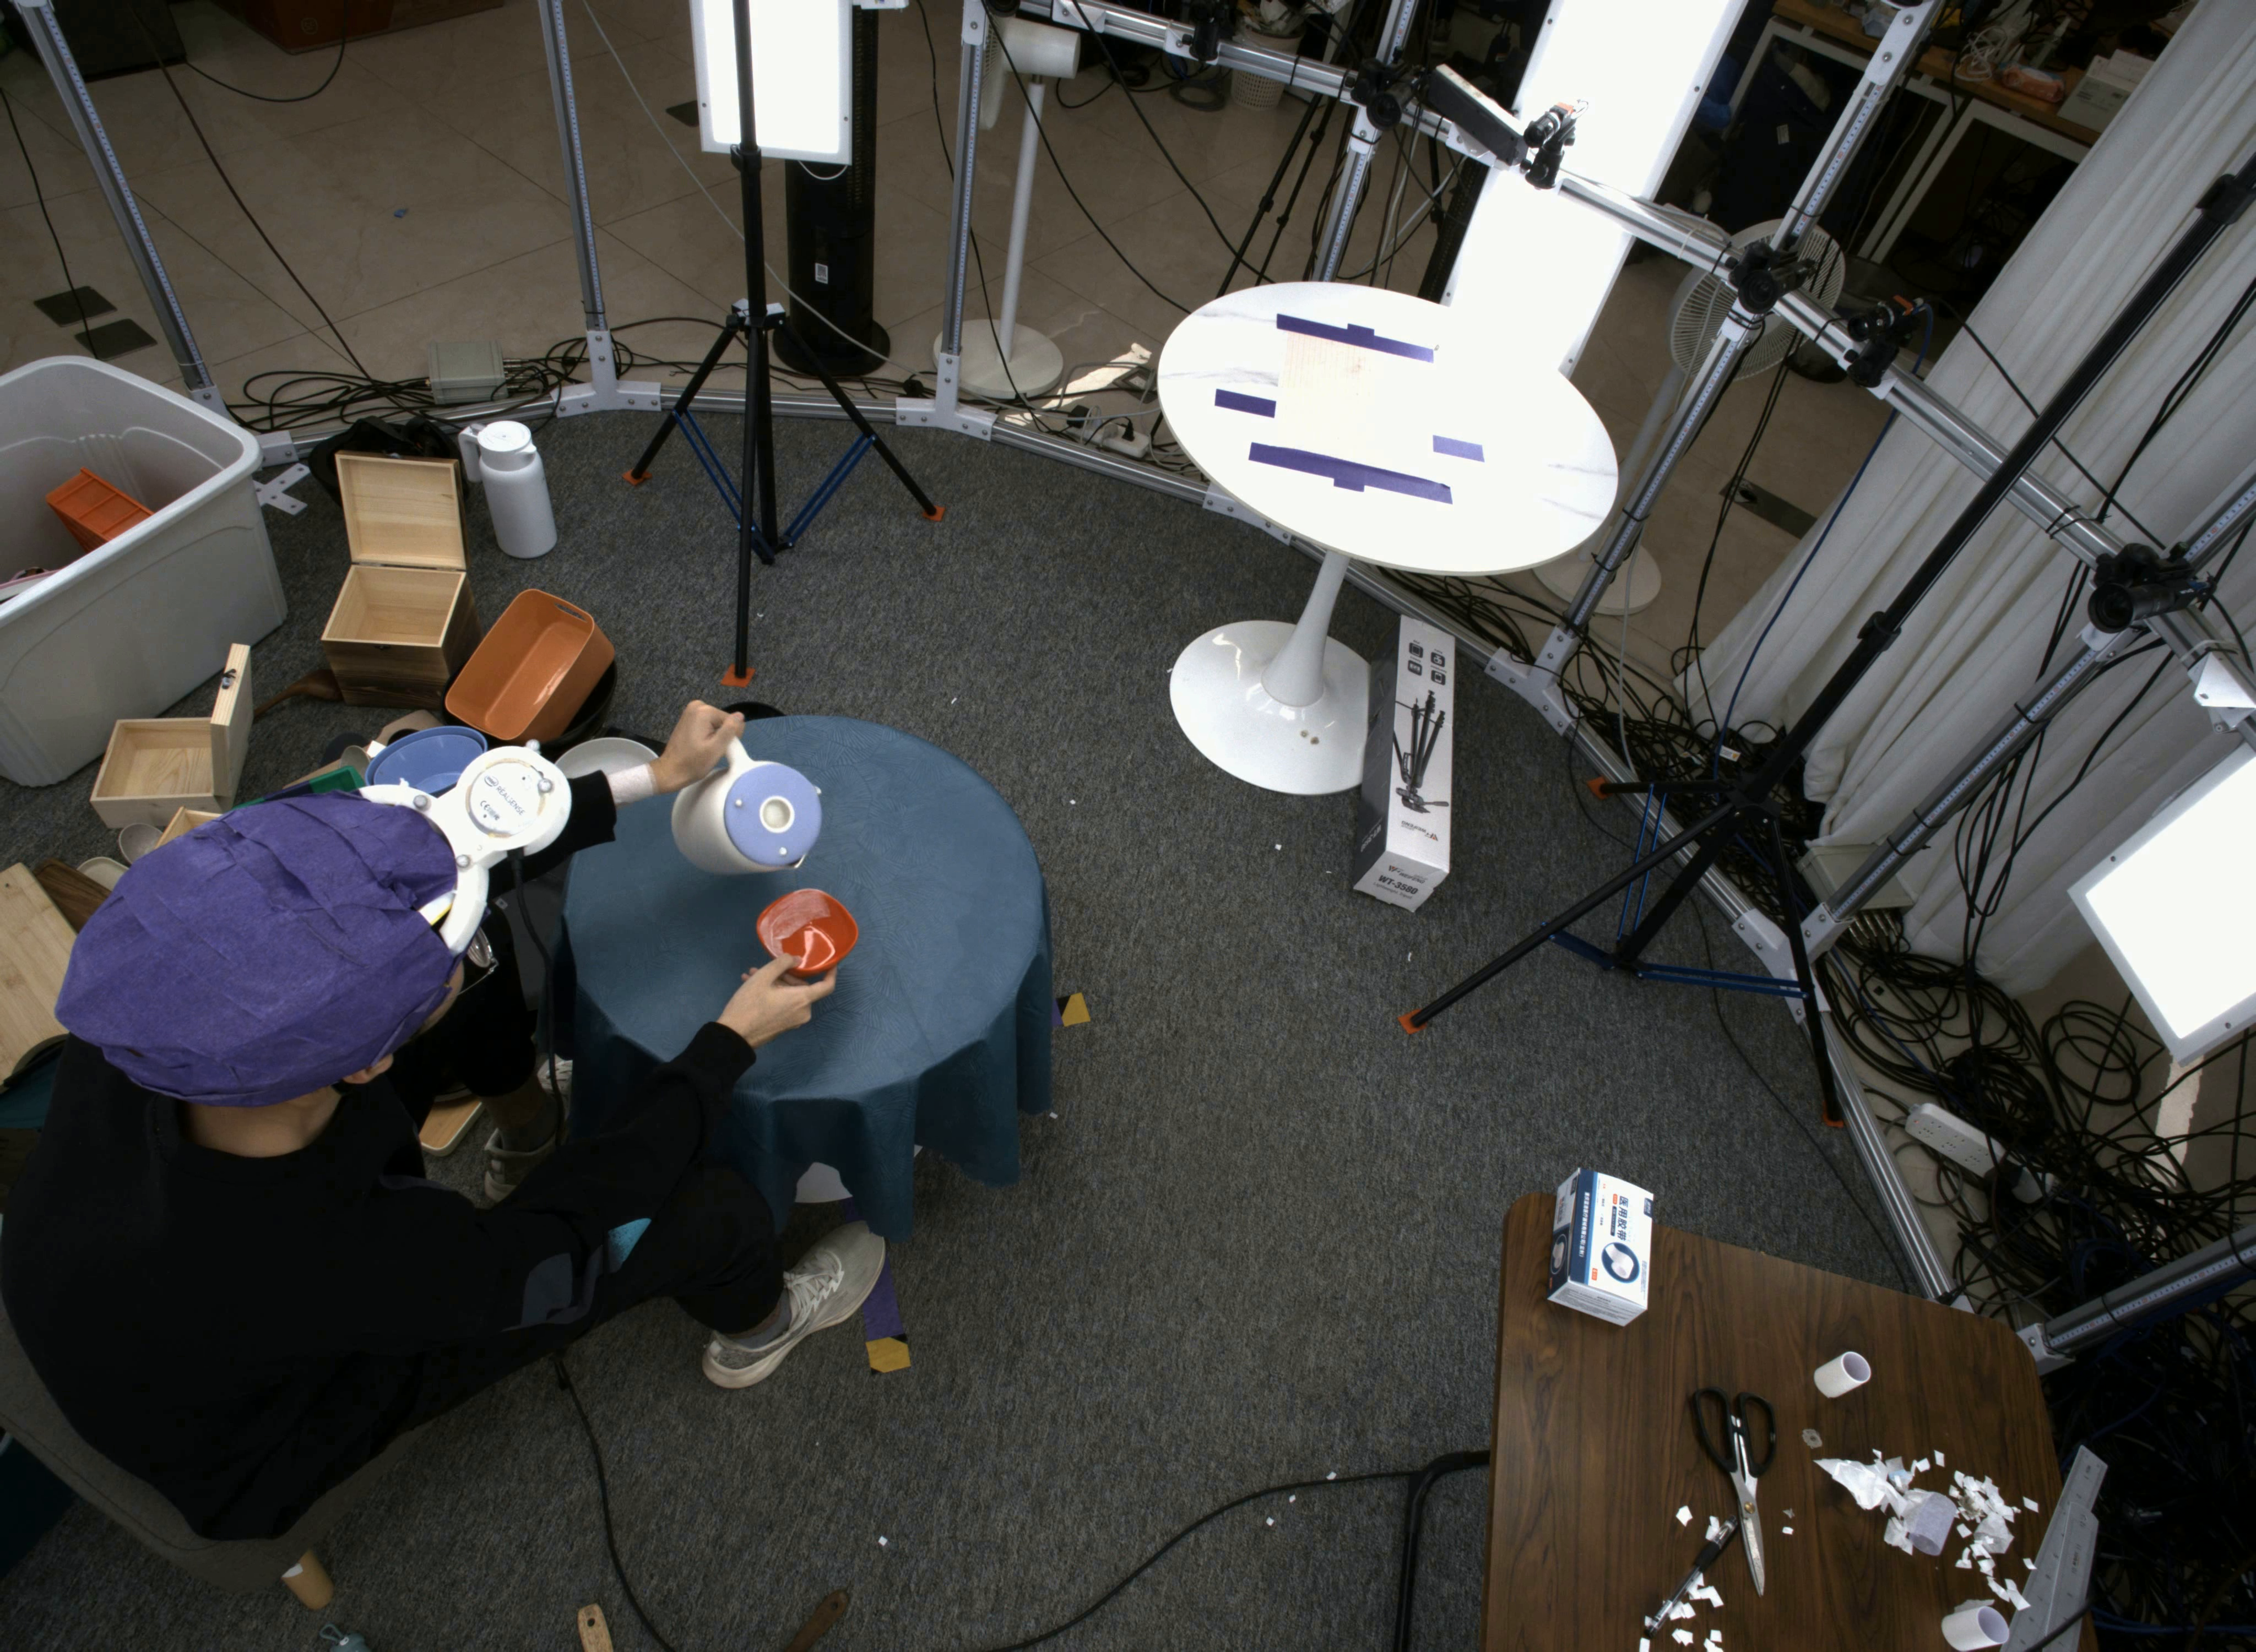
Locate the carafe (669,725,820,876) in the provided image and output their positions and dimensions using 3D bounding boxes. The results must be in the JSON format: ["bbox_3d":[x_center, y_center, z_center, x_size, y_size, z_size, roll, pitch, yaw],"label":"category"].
[{"bbox_3d":[-0.468,-0.033,1.533,0.132,0.177,0.196,-36,109,-35],"label":"carafe"}]

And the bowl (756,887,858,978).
[{"bbox_3d":[-0.385,0.134,1.549,0.119,0.052,0.116,14,48,-14],"label":"bowl"}]
